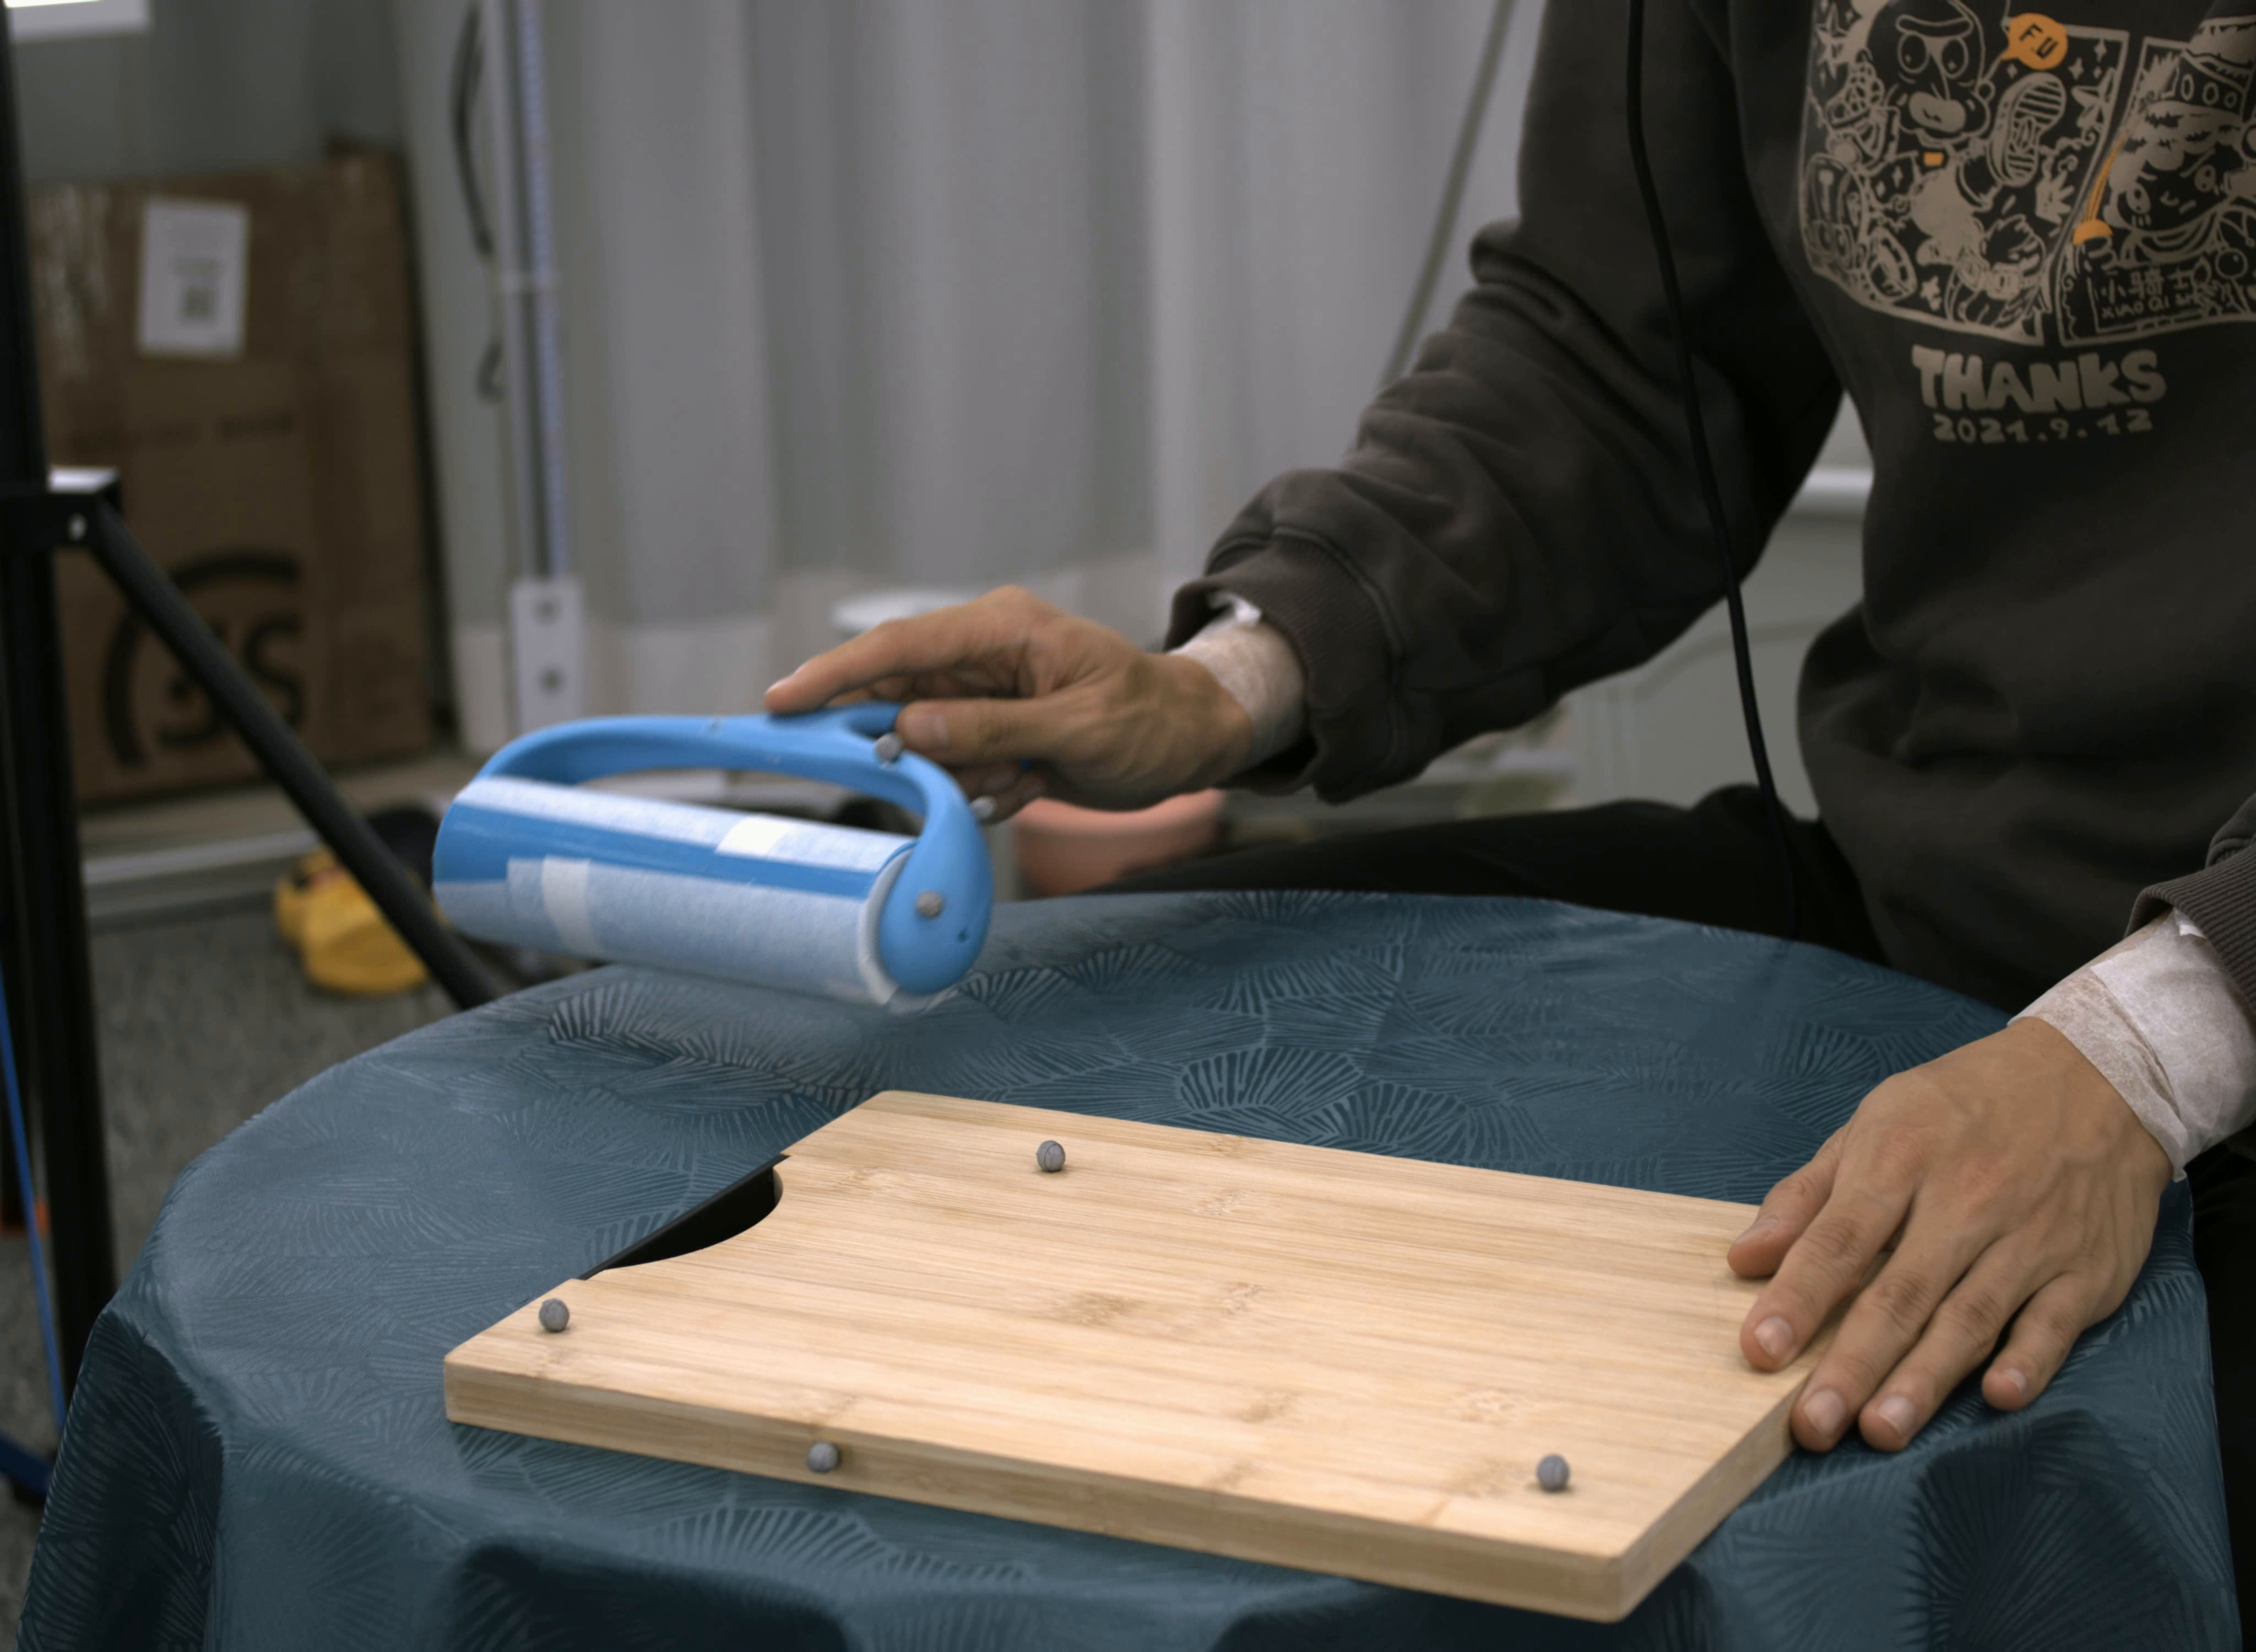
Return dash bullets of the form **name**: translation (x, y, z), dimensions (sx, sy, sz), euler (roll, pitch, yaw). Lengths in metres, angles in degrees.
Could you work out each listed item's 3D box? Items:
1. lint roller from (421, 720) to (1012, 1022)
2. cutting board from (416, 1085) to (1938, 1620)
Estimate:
- **lint roller**: translation (-0.106, -0.002, 1.730), dimensions (0.234, 0.067, 0.177), euler (4, 29, 40)
- **cutting board**: translation (0.016, 0.135, 1.435), dimensions (0.354, 0.023, 0.246), euler (6, 18, 28)
